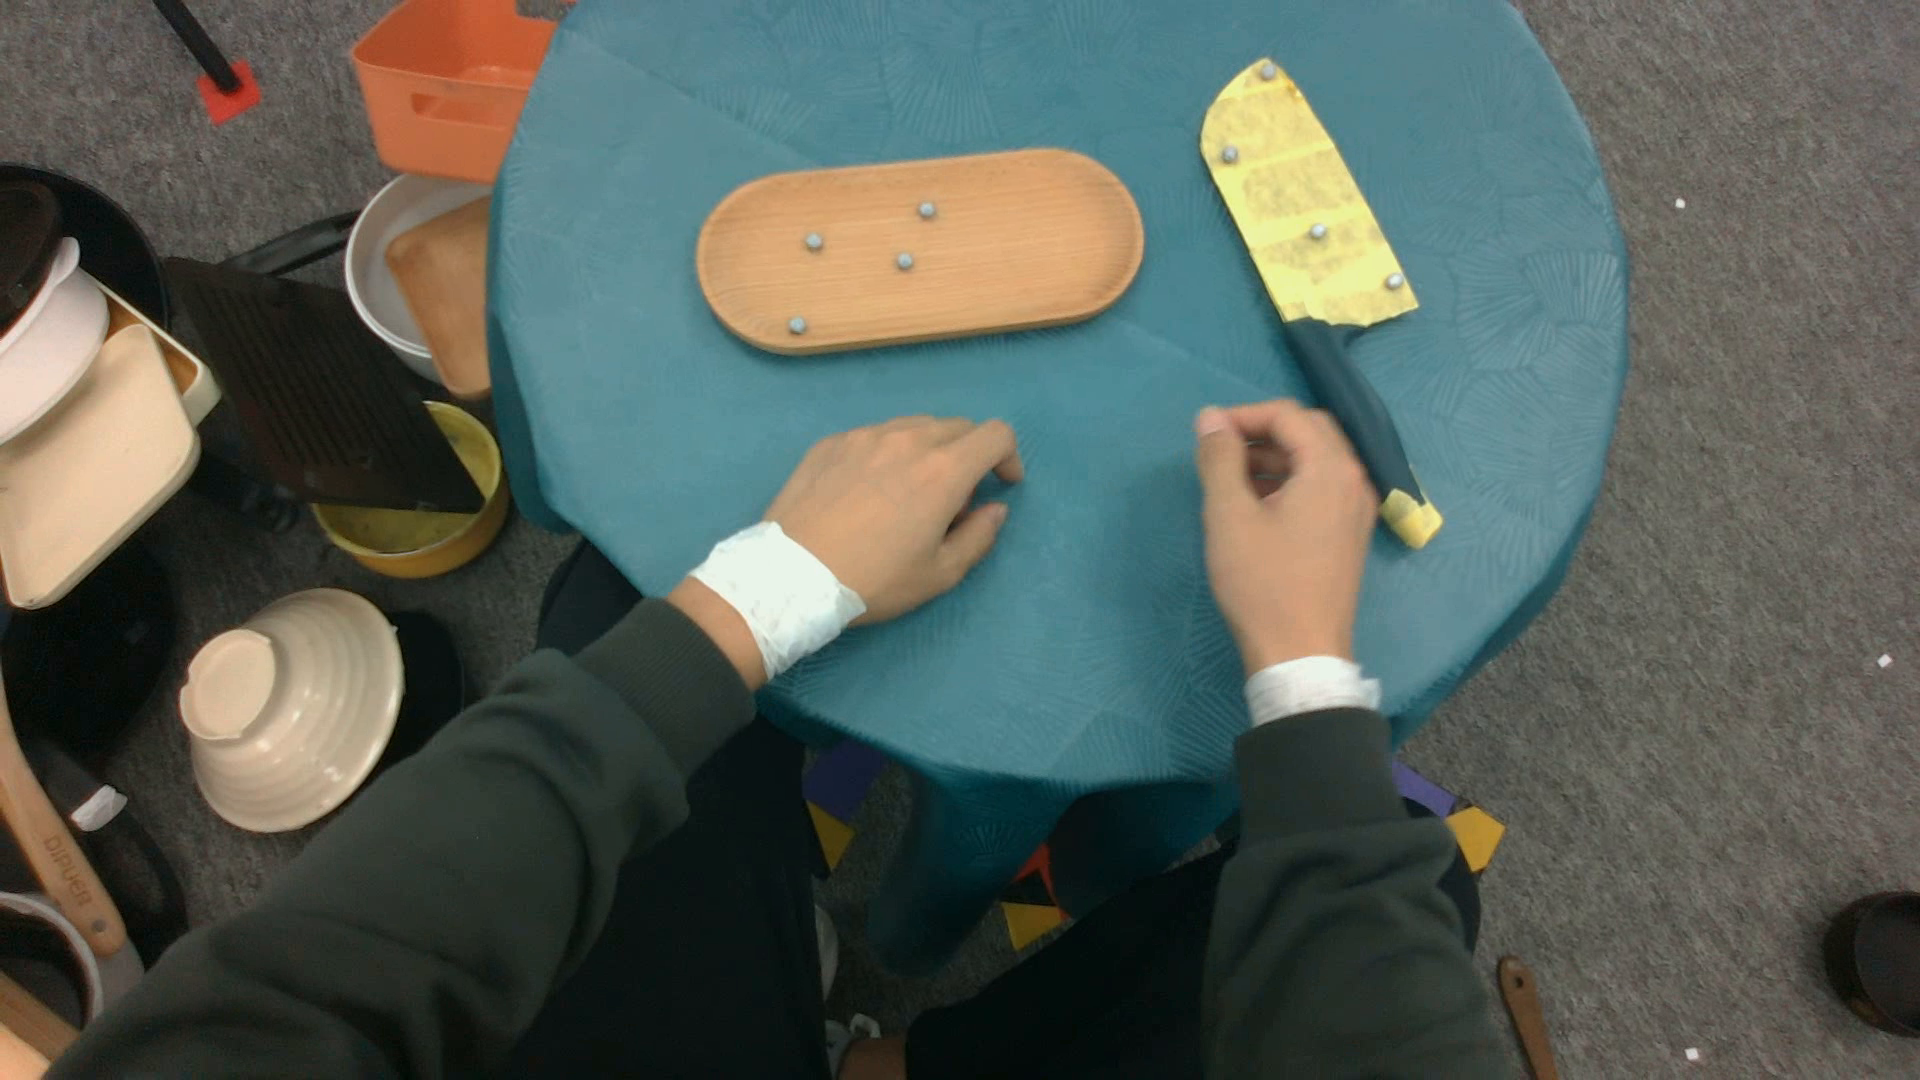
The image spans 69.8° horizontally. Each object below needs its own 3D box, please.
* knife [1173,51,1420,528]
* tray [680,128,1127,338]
[{"bbox_3d":[0.185,-0.141,0.726,0.081,0.027,0.290,-16,73,-9],"label":"knife"},{"bbox_3d":[-0.027,-0.159,0.712,0.231,0.020,0.102,-8,74,-9],"label":"tray"}]
